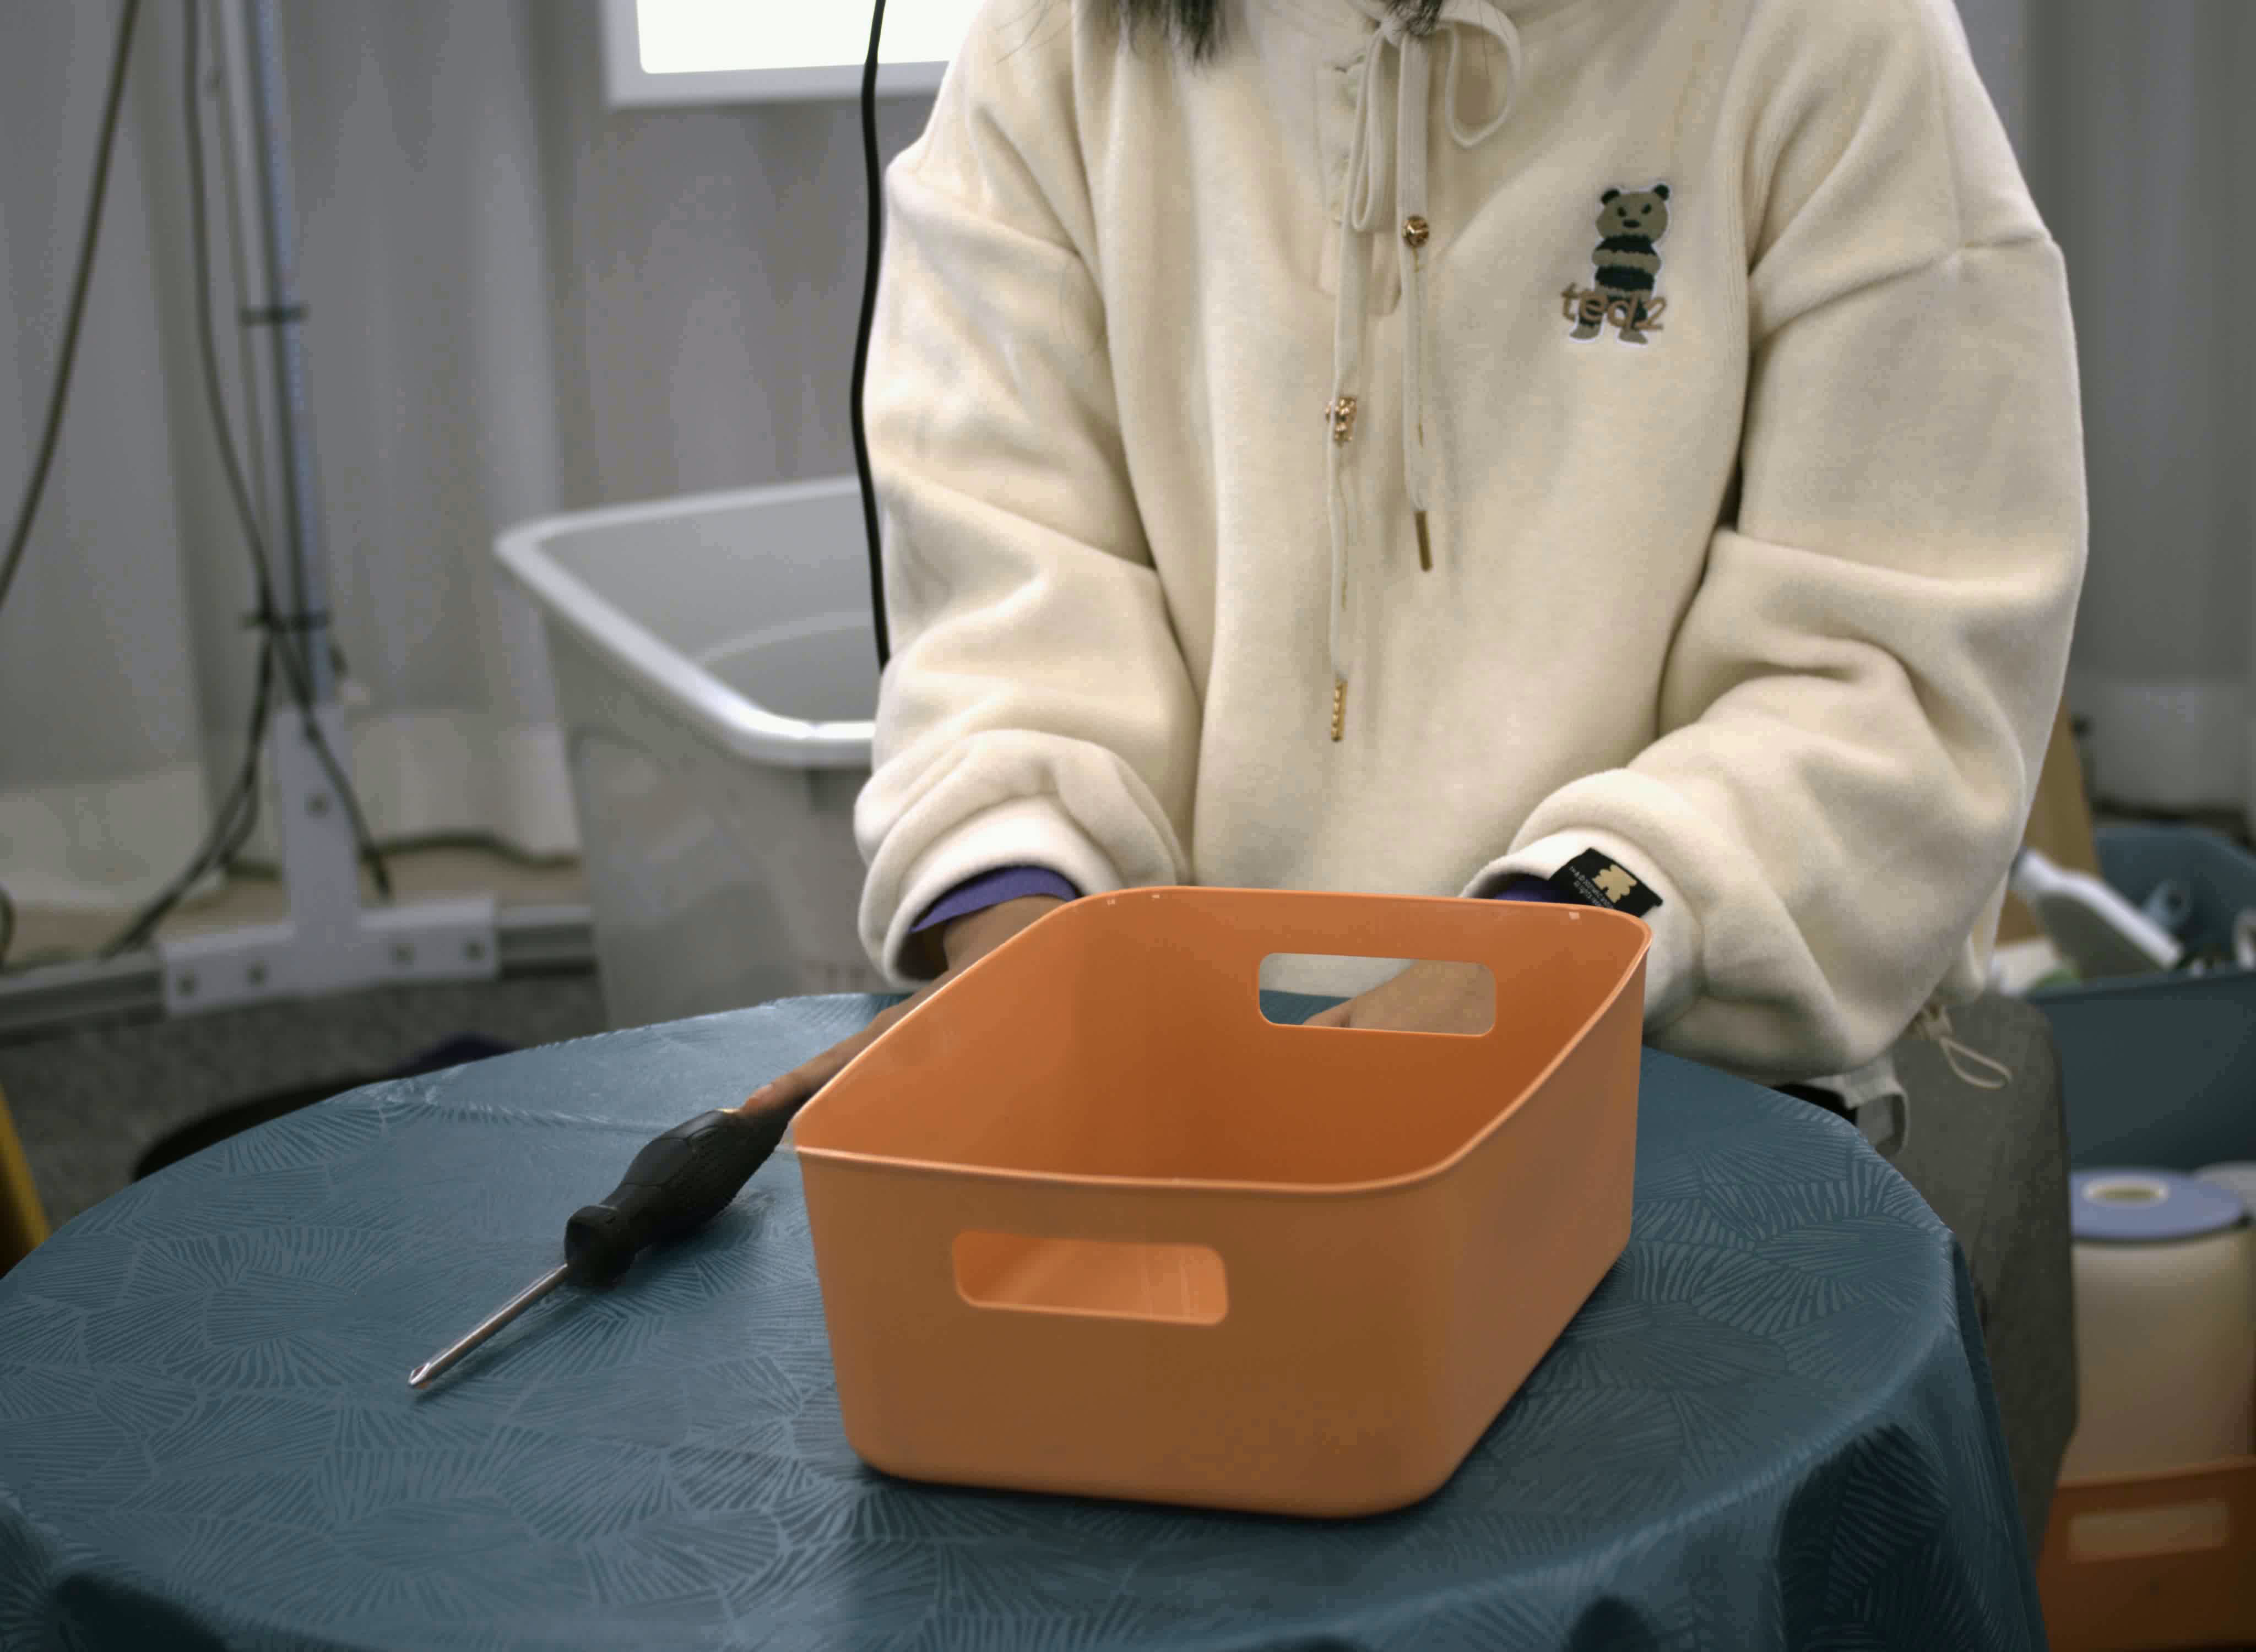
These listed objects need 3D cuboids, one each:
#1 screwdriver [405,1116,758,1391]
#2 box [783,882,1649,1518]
[{"bbox_3d":[-0.167,0.132,1.649,0.031,0.031,0.197,5,21,27],"label":"screwdriver"},{"bbox_3d":[0.035,0.102,1.552,0.199,0.102,0.274,2,16,20],"label":"box"}]
